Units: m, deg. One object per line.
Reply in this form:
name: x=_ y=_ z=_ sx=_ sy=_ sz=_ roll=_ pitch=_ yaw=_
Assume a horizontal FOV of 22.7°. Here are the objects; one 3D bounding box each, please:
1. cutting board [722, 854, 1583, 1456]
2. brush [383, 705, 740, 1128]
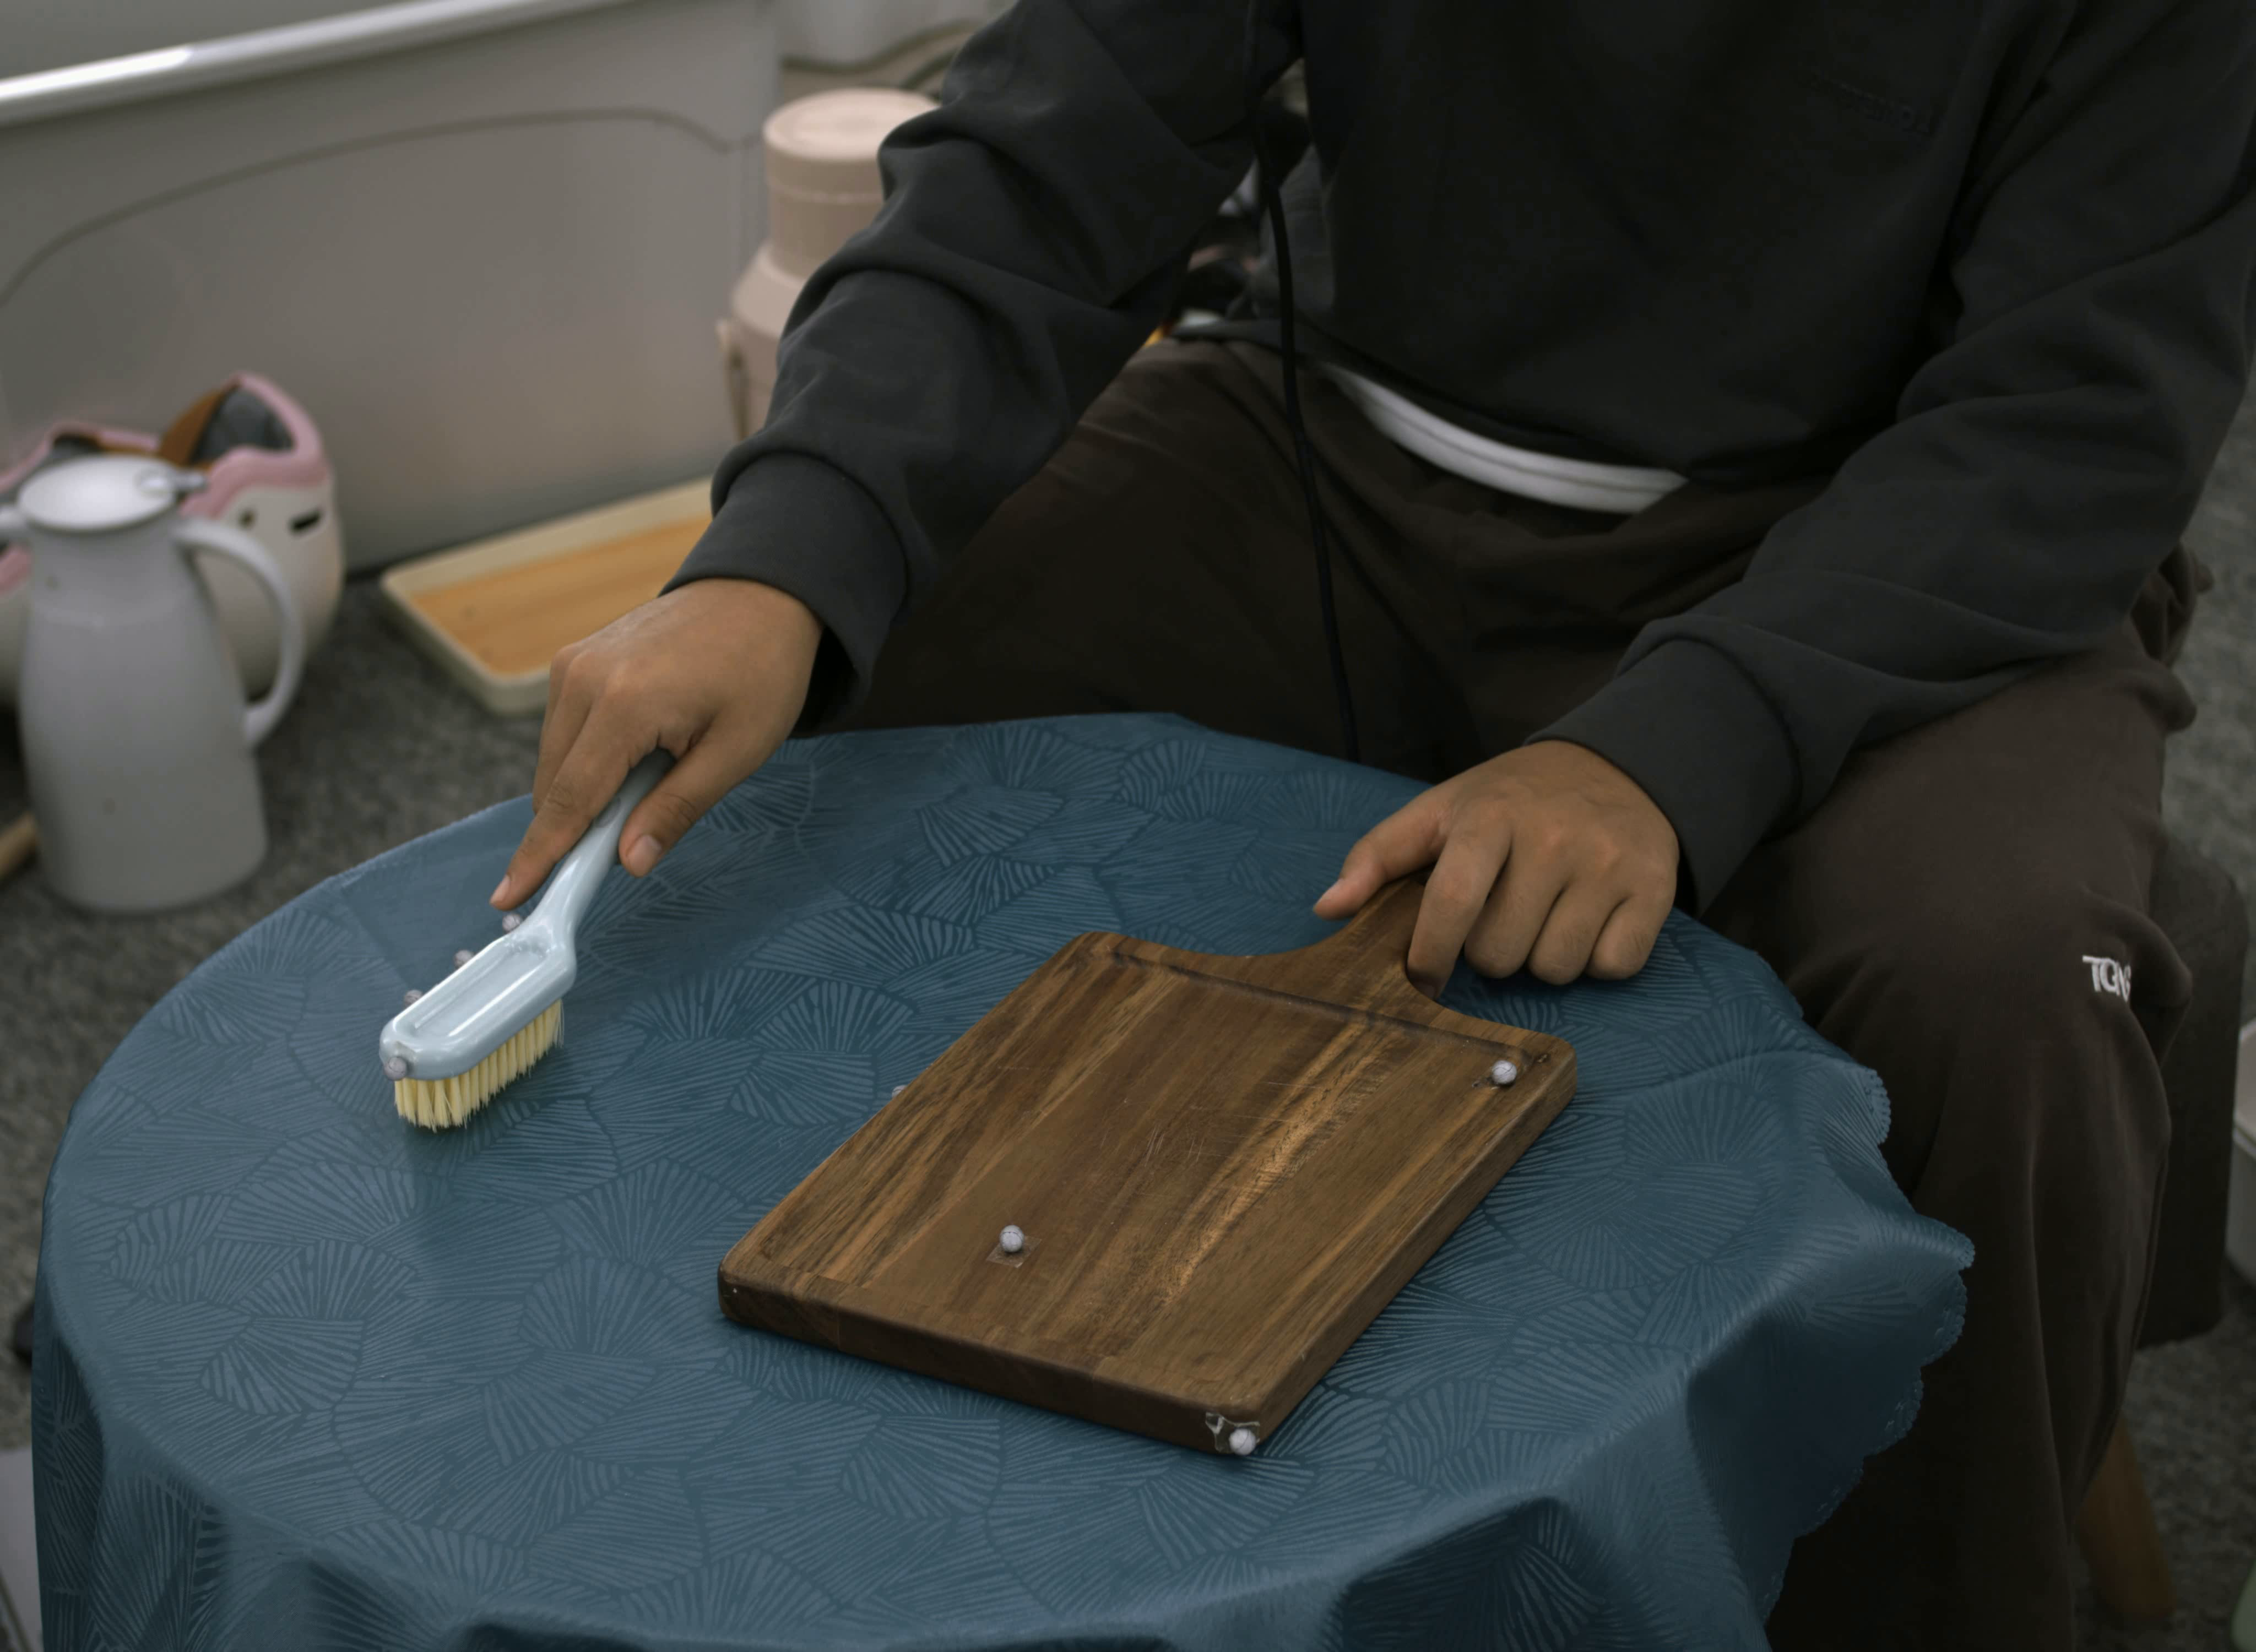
cutting board: x=0.036 y=0.094 z=1.892 sx=0.200 sy=0.023 sz=0.358 roll=12 pitch=31 yaw=26
brush: x=-0.196 y=0.028 z=1.989 sx=0.037 sy=0.049 sz=0.233 roll=9 pitch=41 yaw=21
